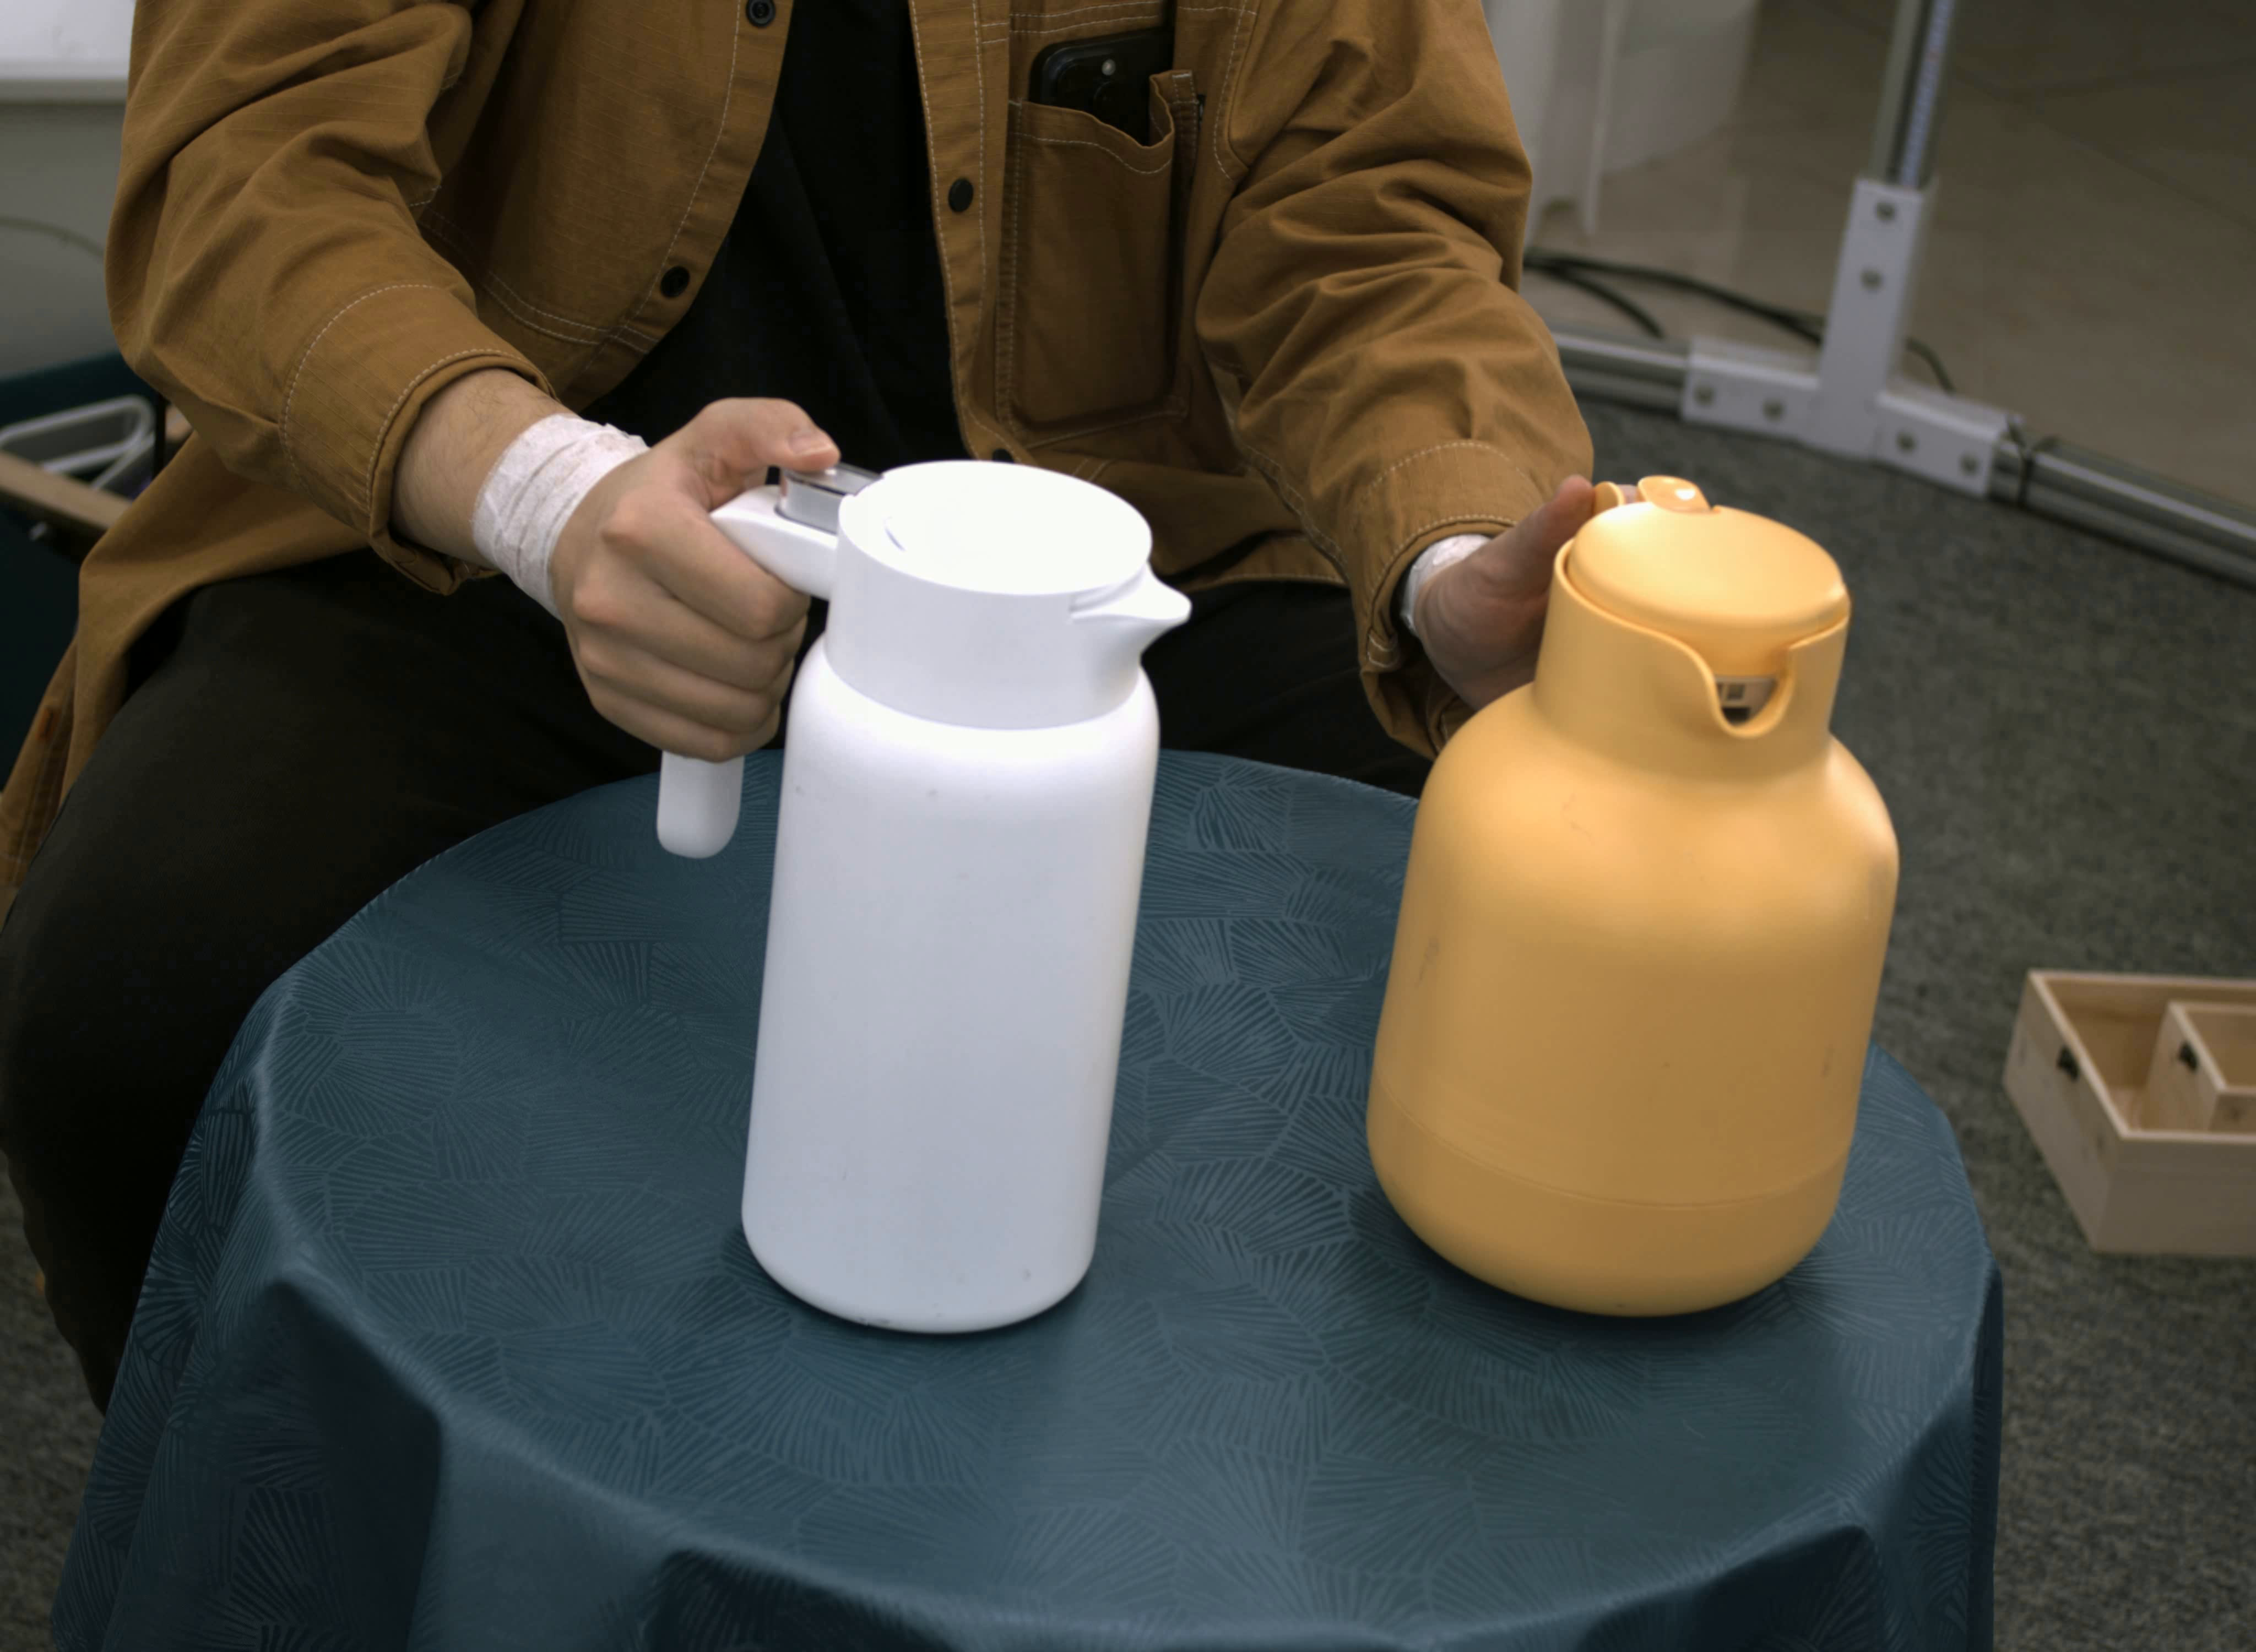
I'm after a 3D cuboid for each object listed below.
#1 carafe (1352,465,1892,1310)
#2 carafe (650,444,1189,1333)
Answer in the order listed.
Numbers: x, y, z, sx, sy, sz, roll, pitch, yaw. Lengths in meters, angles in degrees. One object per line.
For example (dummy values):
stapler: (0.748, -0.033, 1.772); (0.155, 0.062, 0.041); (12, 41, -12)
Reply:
carafe: (0.169, 0.011, 1.774); (0.163, 0.259, 0.204); (6, 28, -8)
carafe: (-0.074, 0.017, 1.703); (0.173, 0.268, 0.124); (18, 30, 21)
